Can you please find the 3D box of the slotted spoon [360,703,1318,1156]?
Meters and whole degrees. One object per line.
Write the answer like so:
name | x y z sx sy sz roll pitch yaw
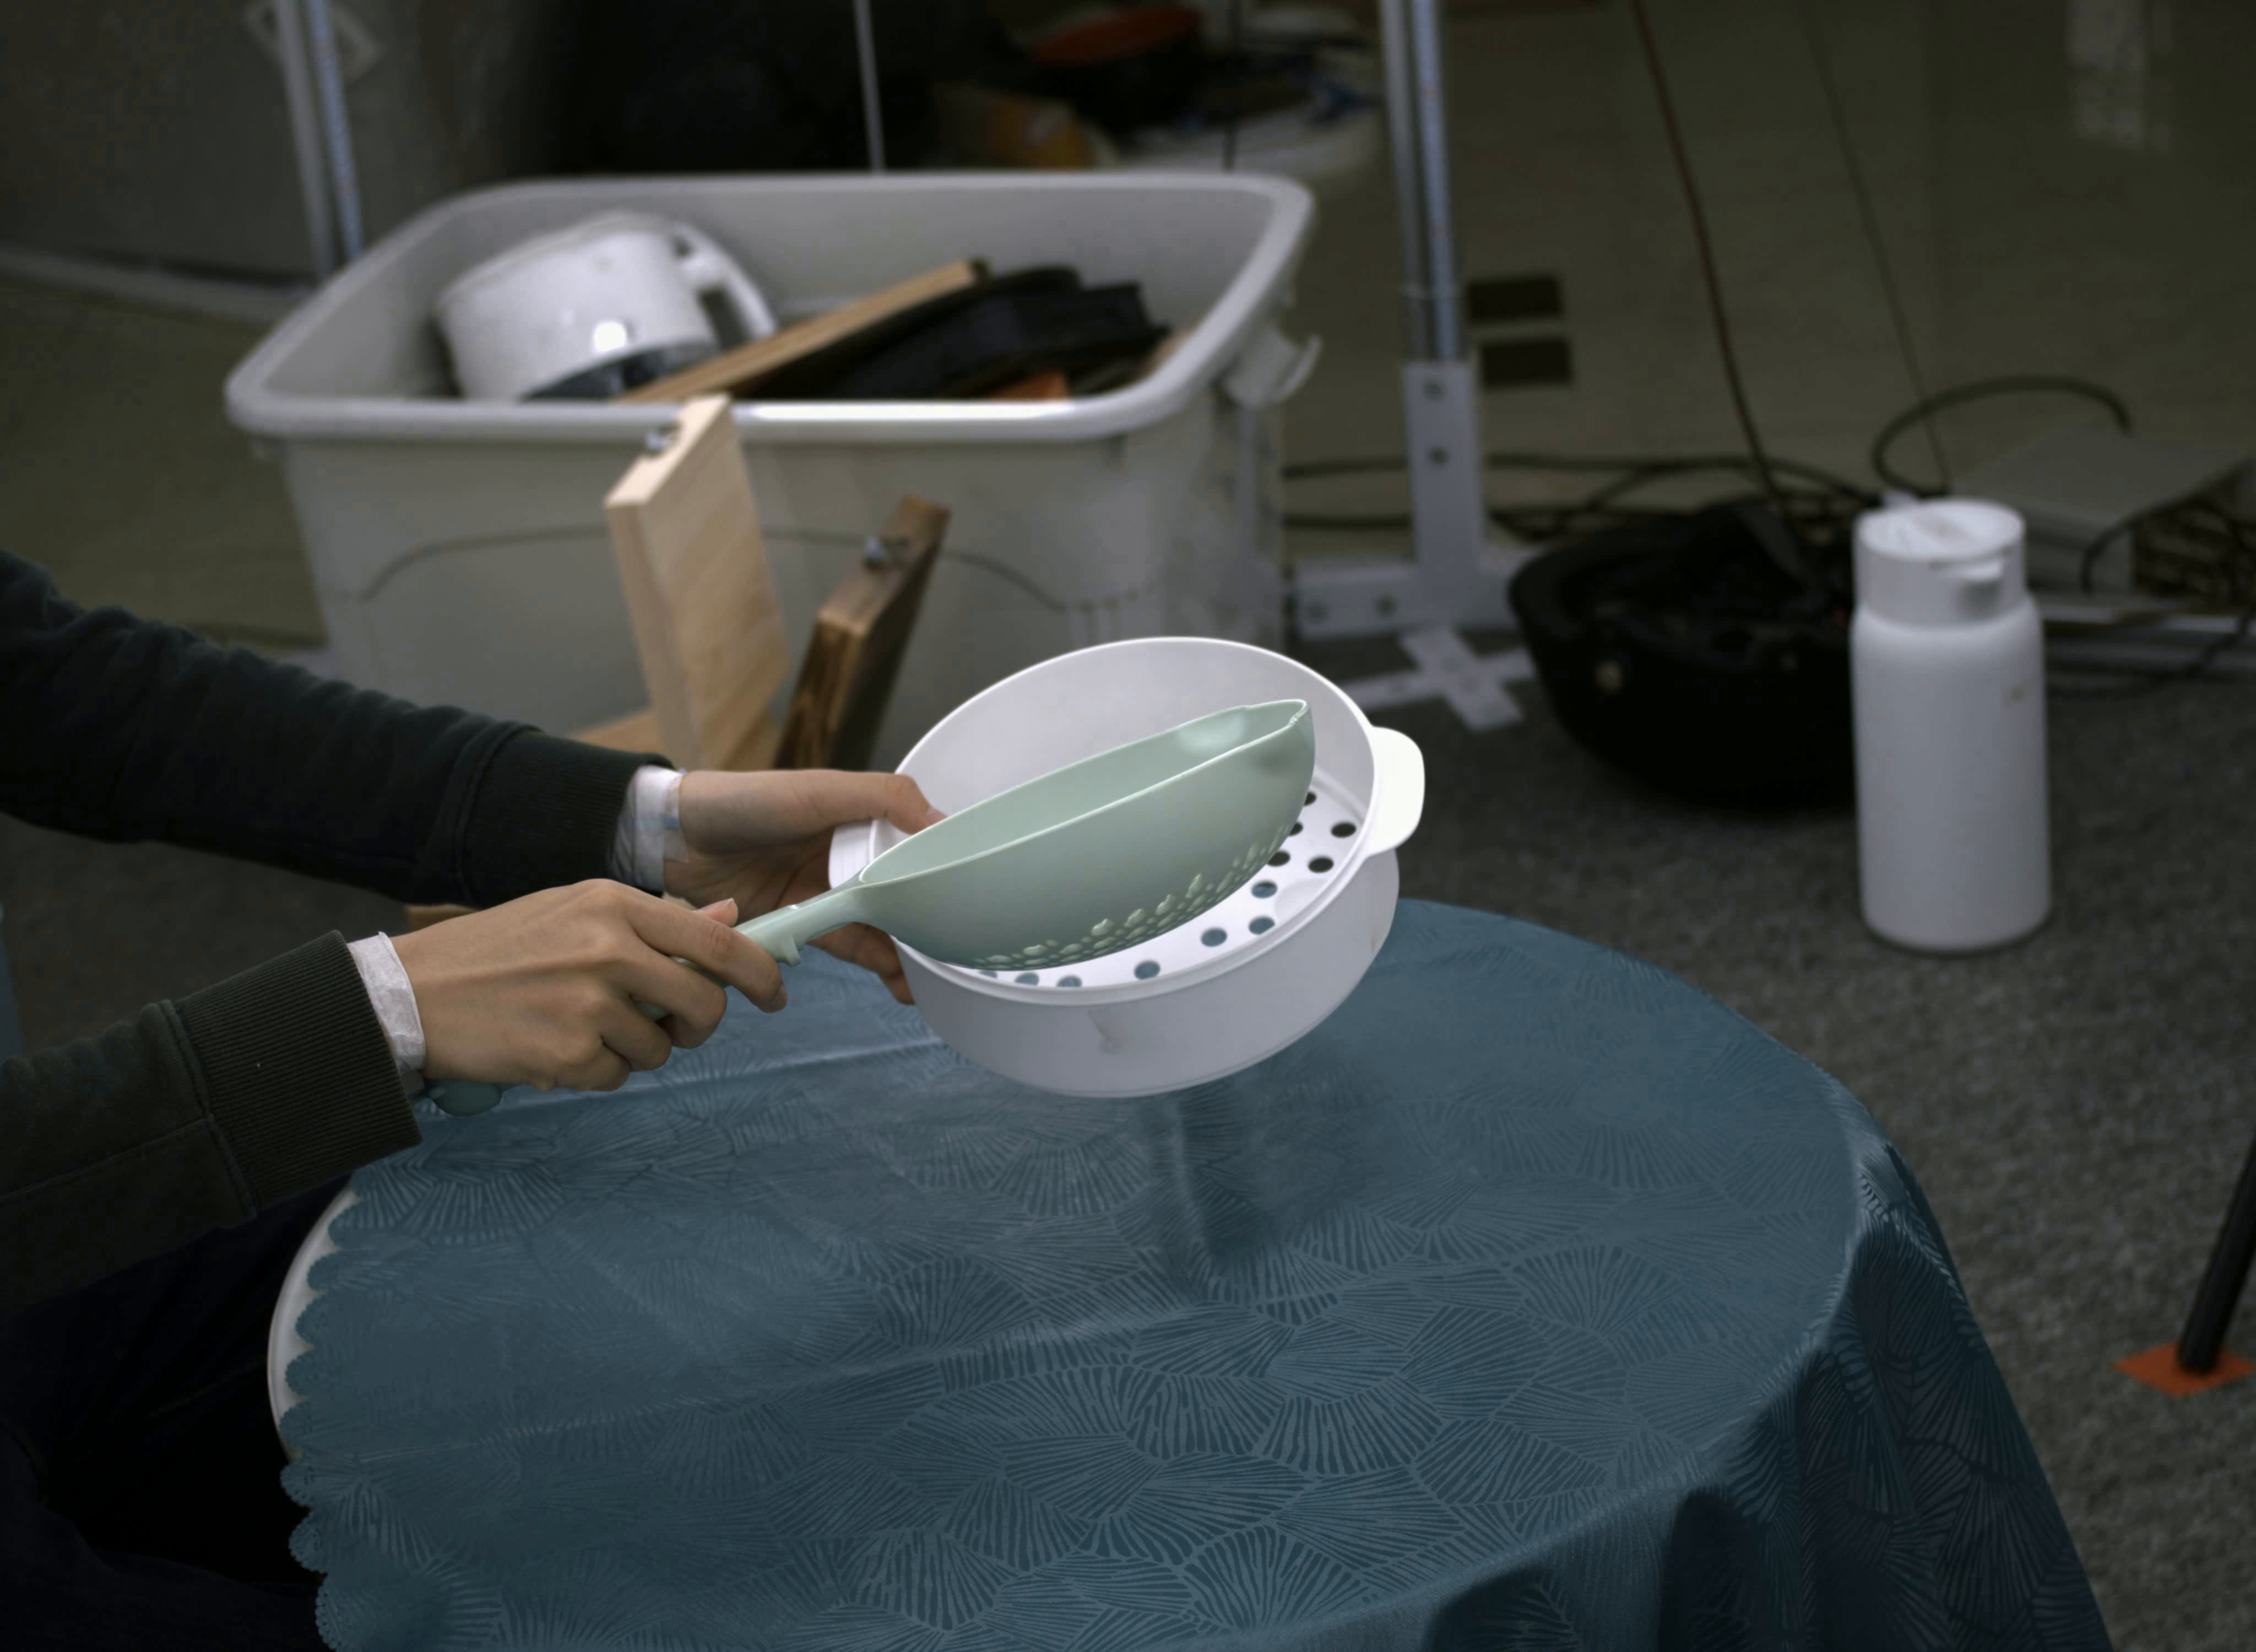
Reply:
slotted spoon | -0.100 0.035 1.973 0.358 0.076 0.169 -14 5 -7

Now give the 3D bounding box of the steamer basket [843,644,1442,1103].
steamer basket | 0.010 0.018 2.154 0.230 0.070 0.198 -7 41 9
